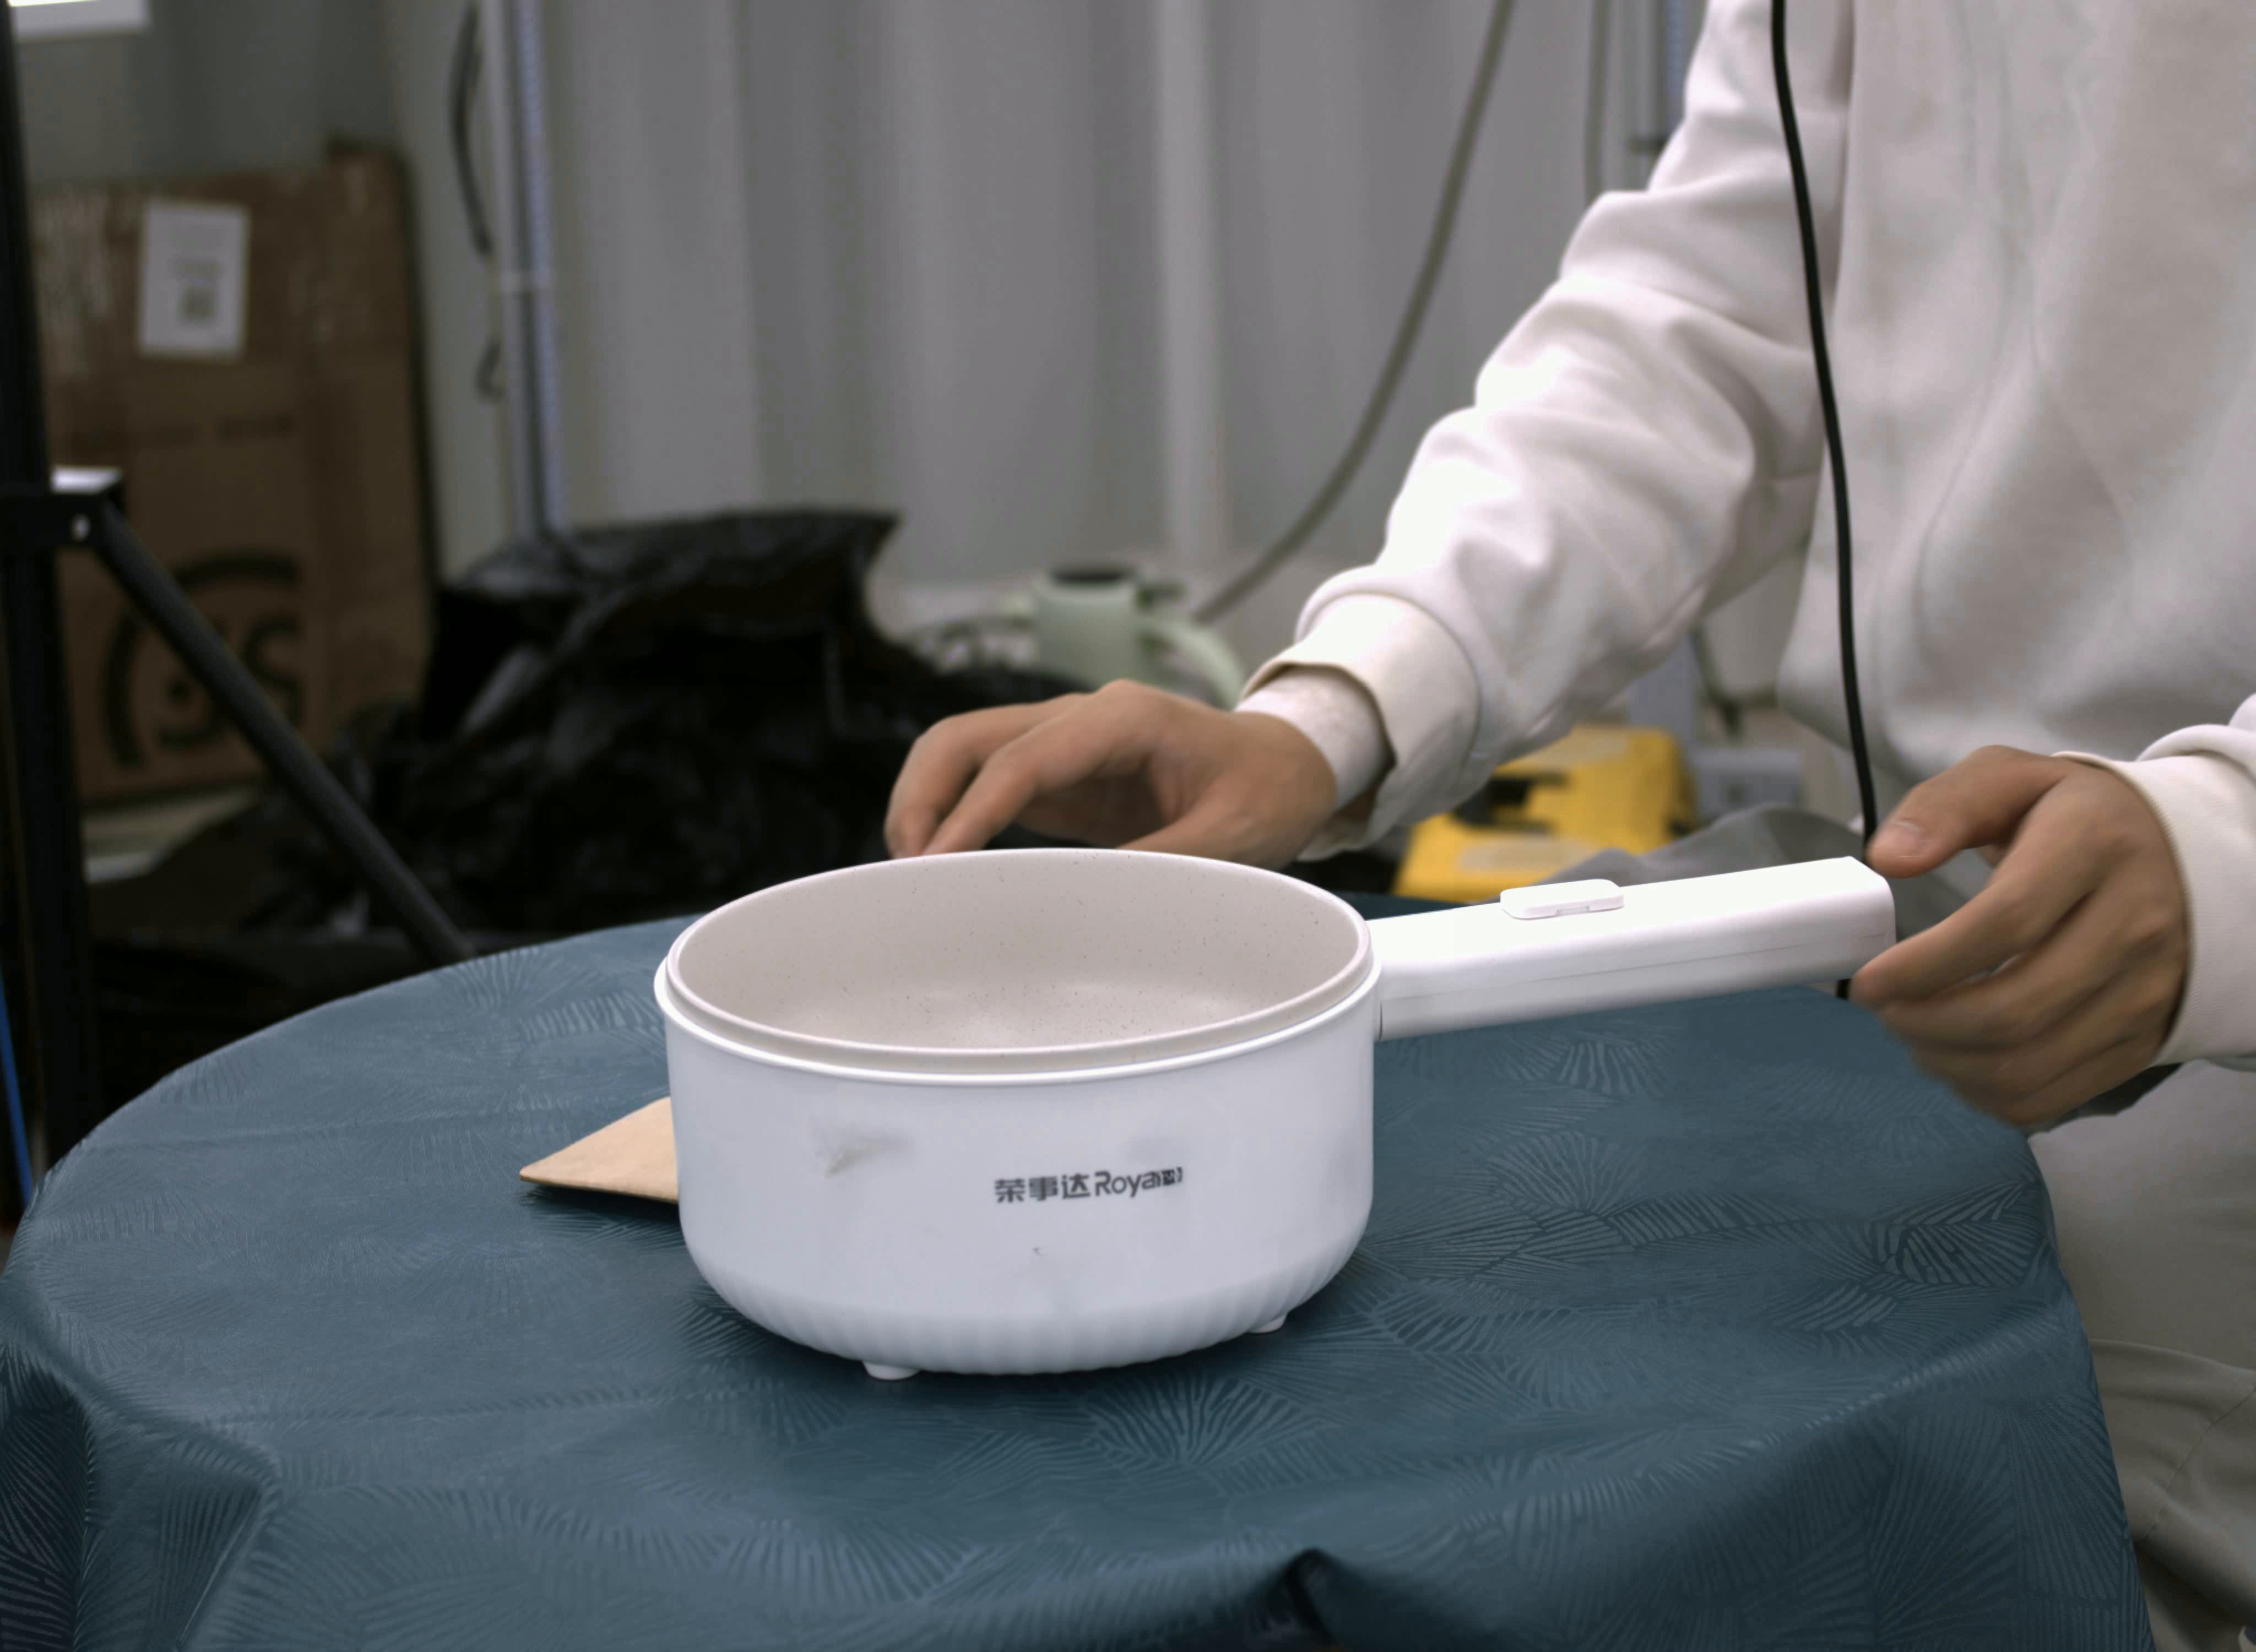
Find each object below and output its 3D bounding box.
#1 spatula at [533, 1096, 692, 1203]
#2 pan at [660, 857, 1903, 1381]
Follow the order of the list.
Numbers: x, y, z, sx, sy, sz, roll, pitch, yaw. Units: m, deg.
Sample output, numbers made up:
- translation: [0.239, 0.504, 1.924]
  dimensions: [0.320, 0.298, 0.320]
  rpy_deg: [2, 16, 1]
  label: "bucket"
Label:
- translation: [-0.082, 0.072, 1.684]
  dimensions: [0.073, 0.010, 0.288]
  rpy_deg: [4, 17, 28]
  label: "spatula"
- translation: [0.046, 0.076, 1.492]
  dimensions: [0.349, 0.102, 0.204]
  rpy_deg: [-5, 14, -13]
  label: "pan"
